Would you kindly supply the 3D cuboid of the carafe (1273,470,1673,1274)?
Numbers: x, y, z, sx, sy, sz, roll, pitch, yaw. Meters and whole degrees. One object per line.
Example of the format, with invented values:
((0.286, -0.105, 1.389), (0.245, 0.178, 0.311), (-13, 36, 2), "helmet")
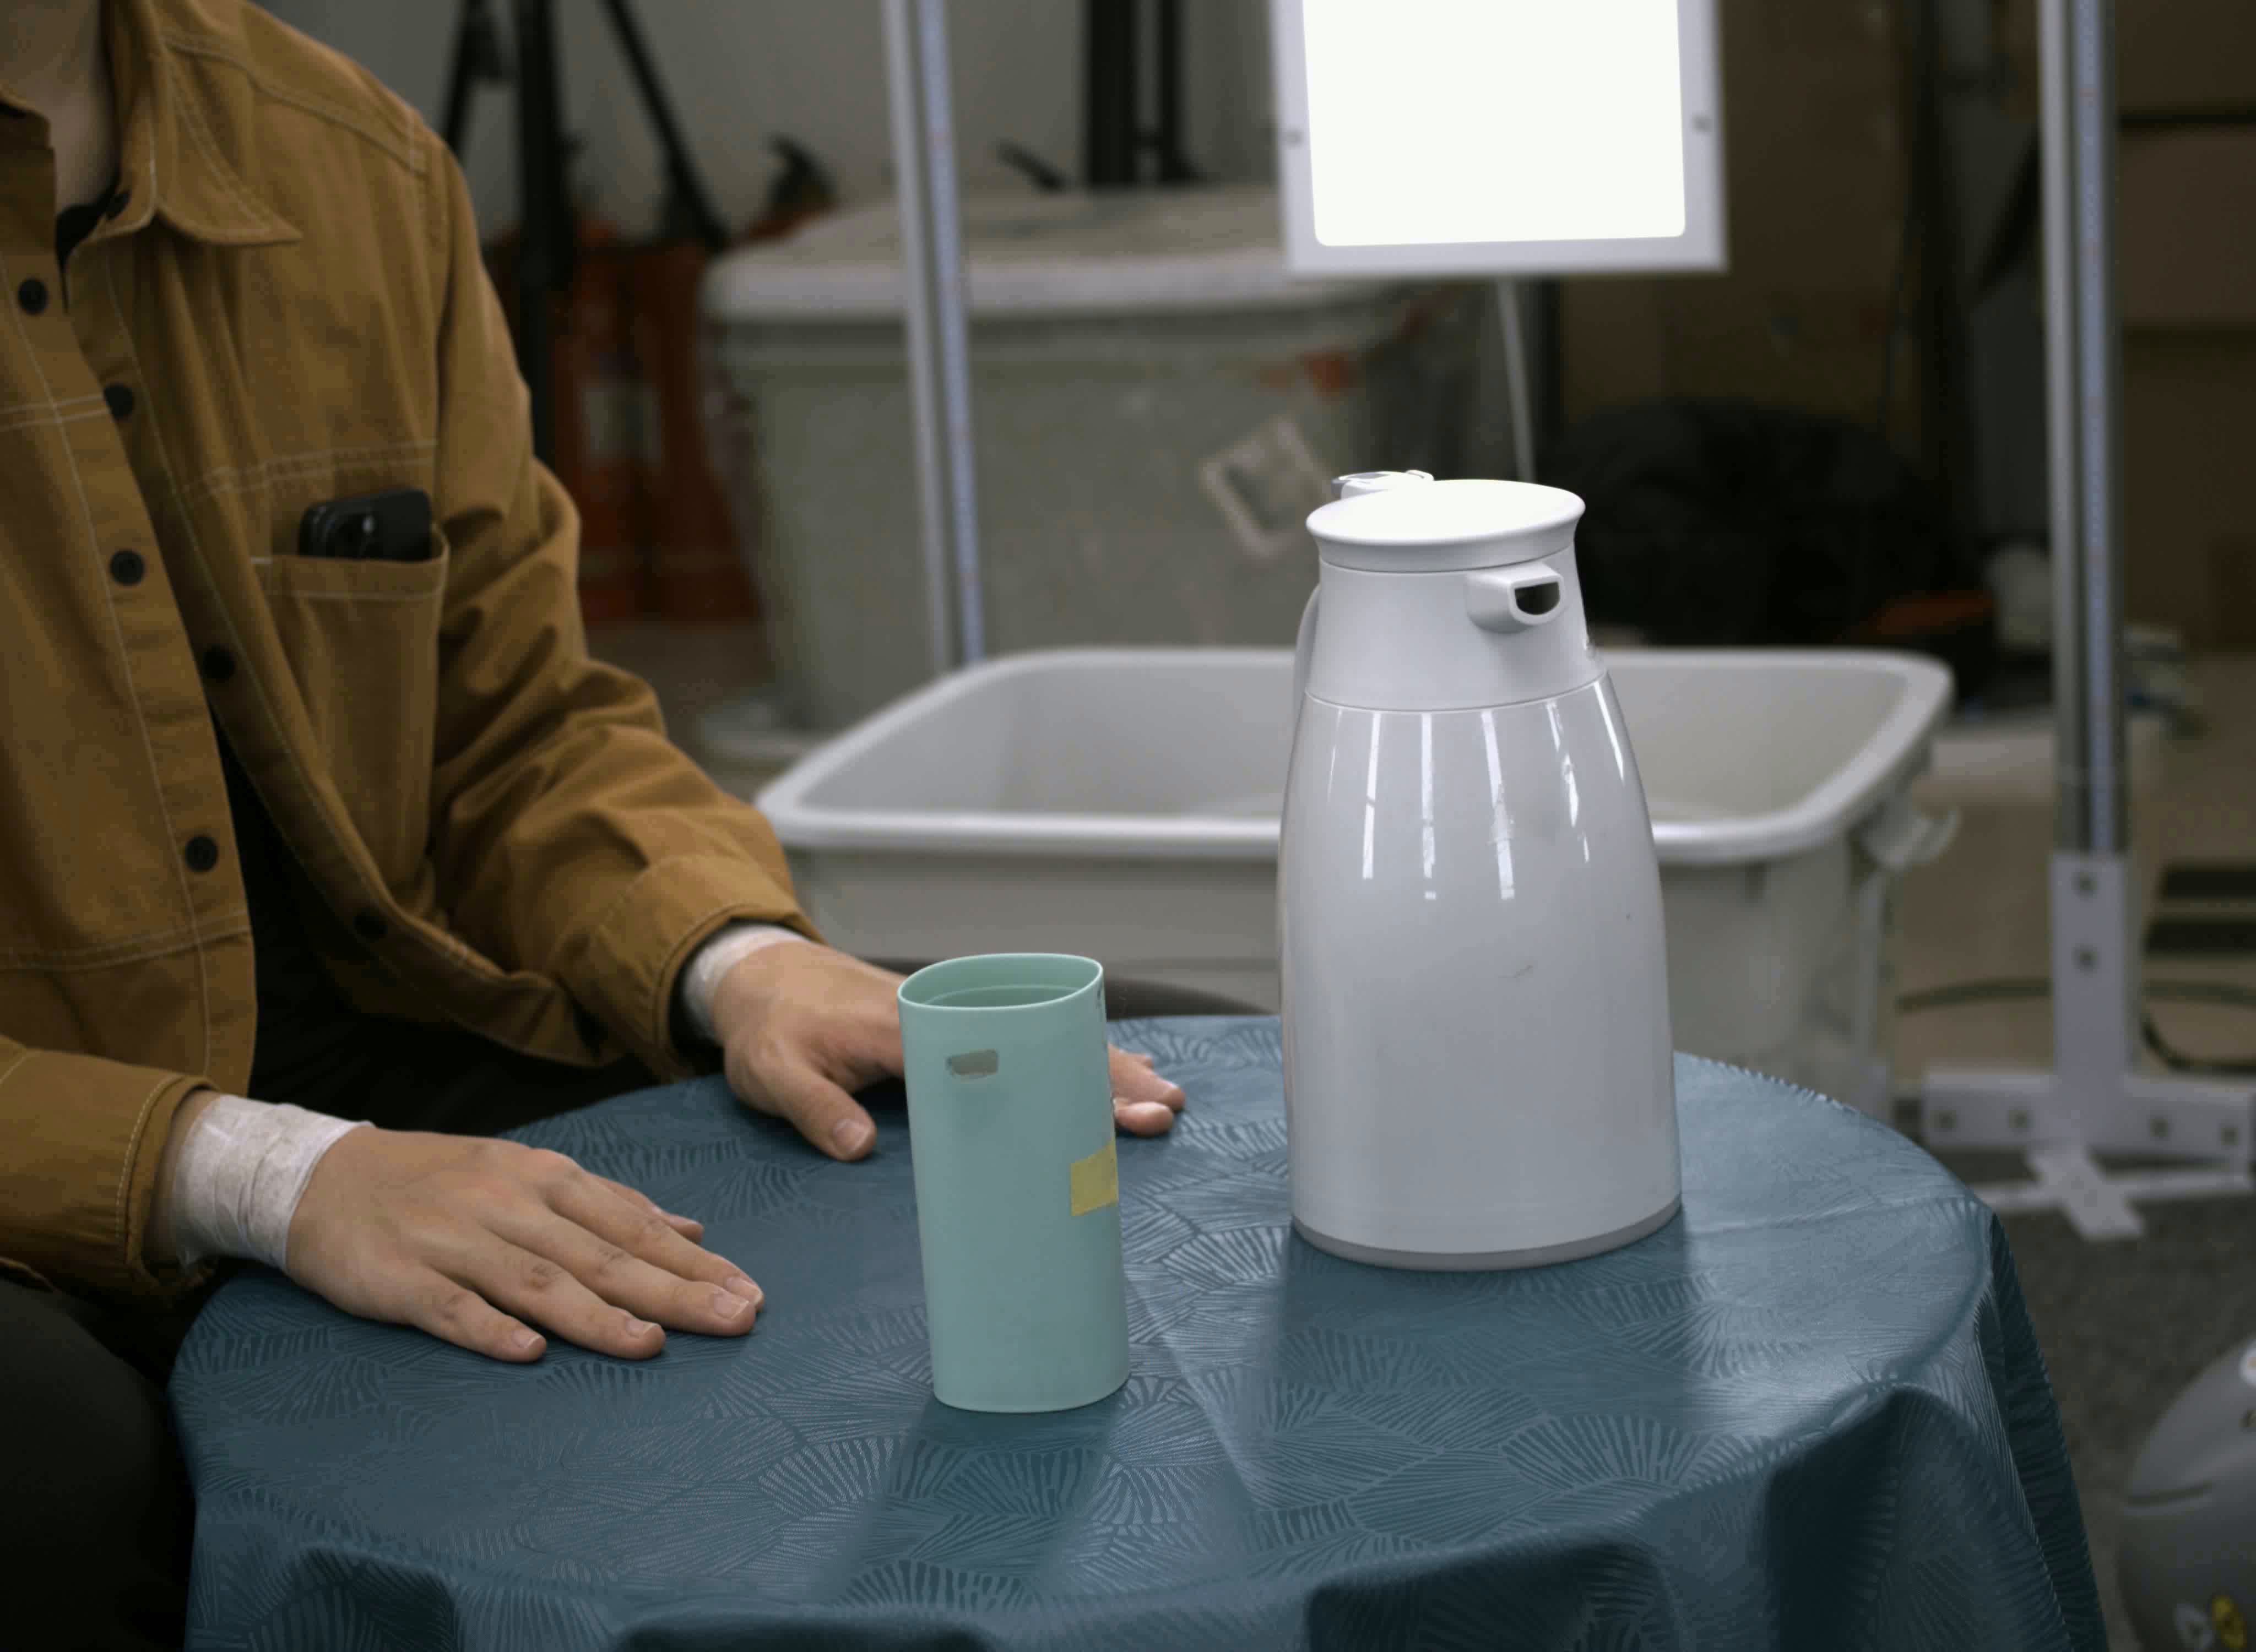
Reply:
((0.103, 0.007, 1.833), (0.130, 0.249, 0.170), (-9, 13, -22), "carafe")

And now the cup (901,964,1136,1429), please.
((-0.034, 0.114, 1.705), (0.066, 0.133, 0.066), (-4, 13, 0), "cup")
